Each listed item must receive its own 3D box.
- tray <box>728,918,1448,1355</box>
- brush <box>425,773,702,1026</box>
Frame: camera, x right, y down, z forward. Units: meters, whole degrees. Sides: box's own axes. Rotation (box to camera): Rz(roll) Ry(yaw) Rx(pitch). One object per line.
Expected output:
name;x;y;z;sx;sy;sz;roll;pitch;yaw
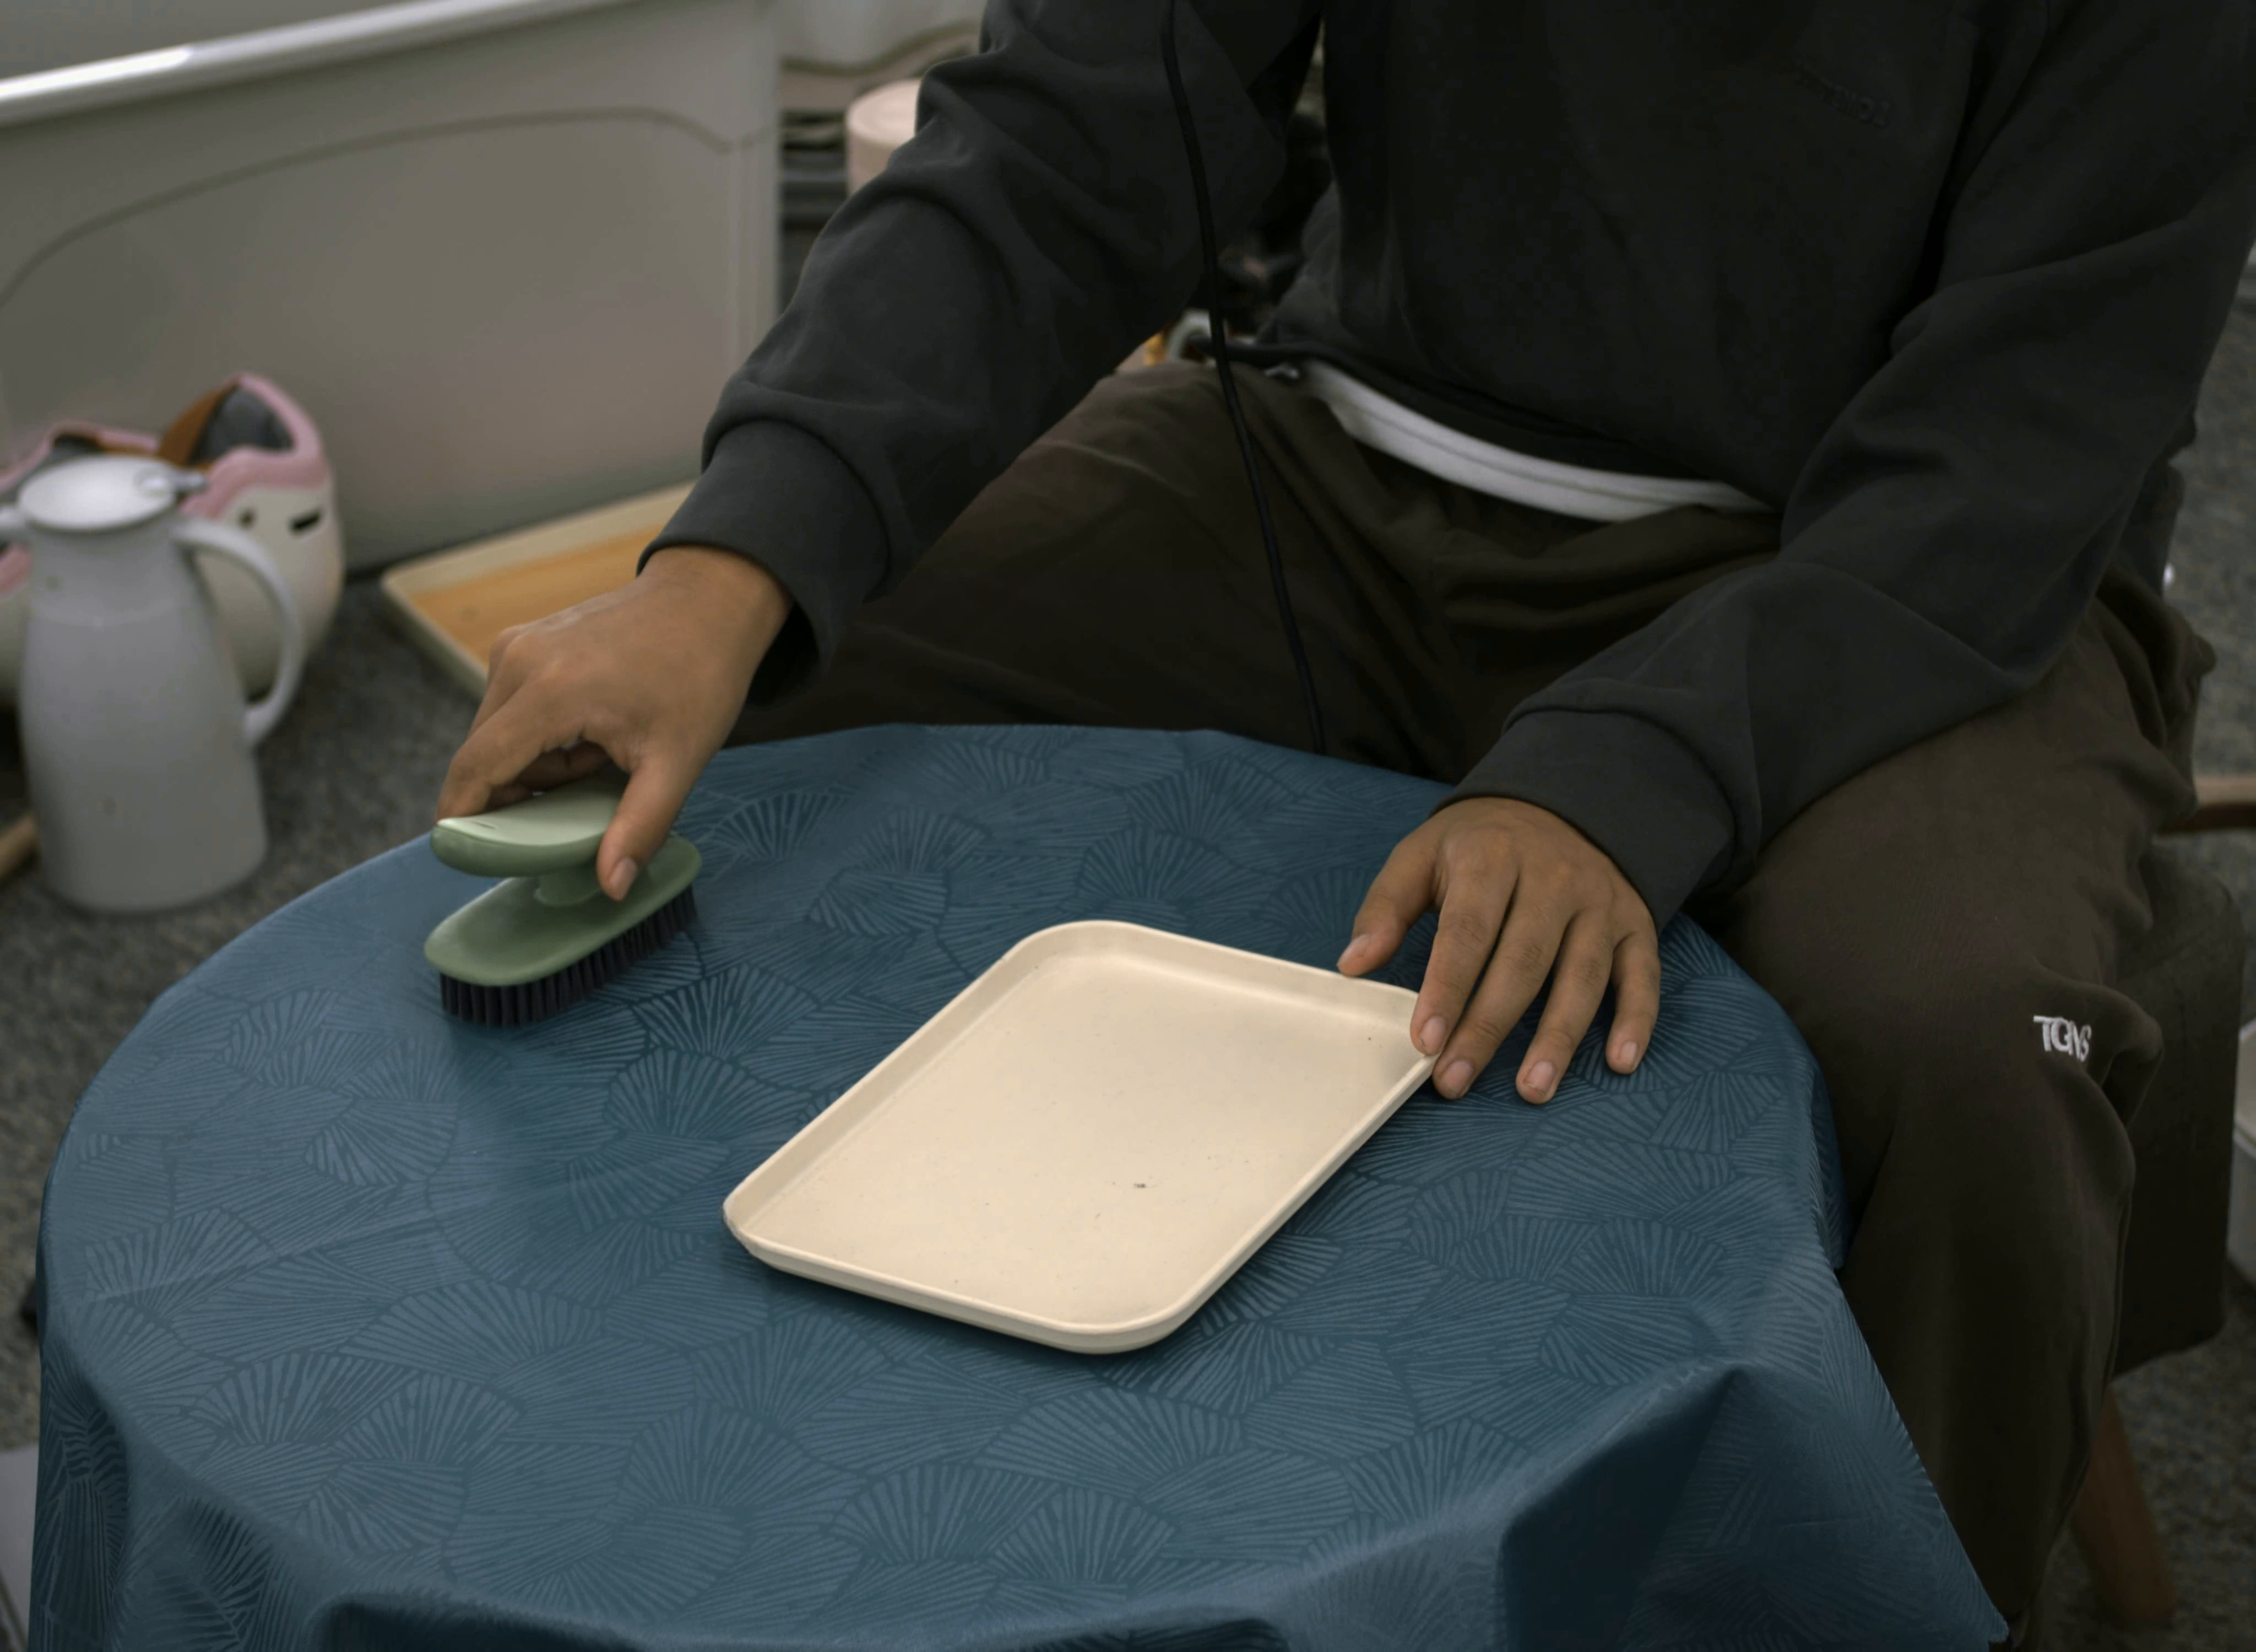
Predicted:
tray;-0.010;0.102;1.883;0.170;0.017;0.243;13;31;27
brush;-0.203;0.025;2.012;0.059;0.075;0.124;16;19;31
